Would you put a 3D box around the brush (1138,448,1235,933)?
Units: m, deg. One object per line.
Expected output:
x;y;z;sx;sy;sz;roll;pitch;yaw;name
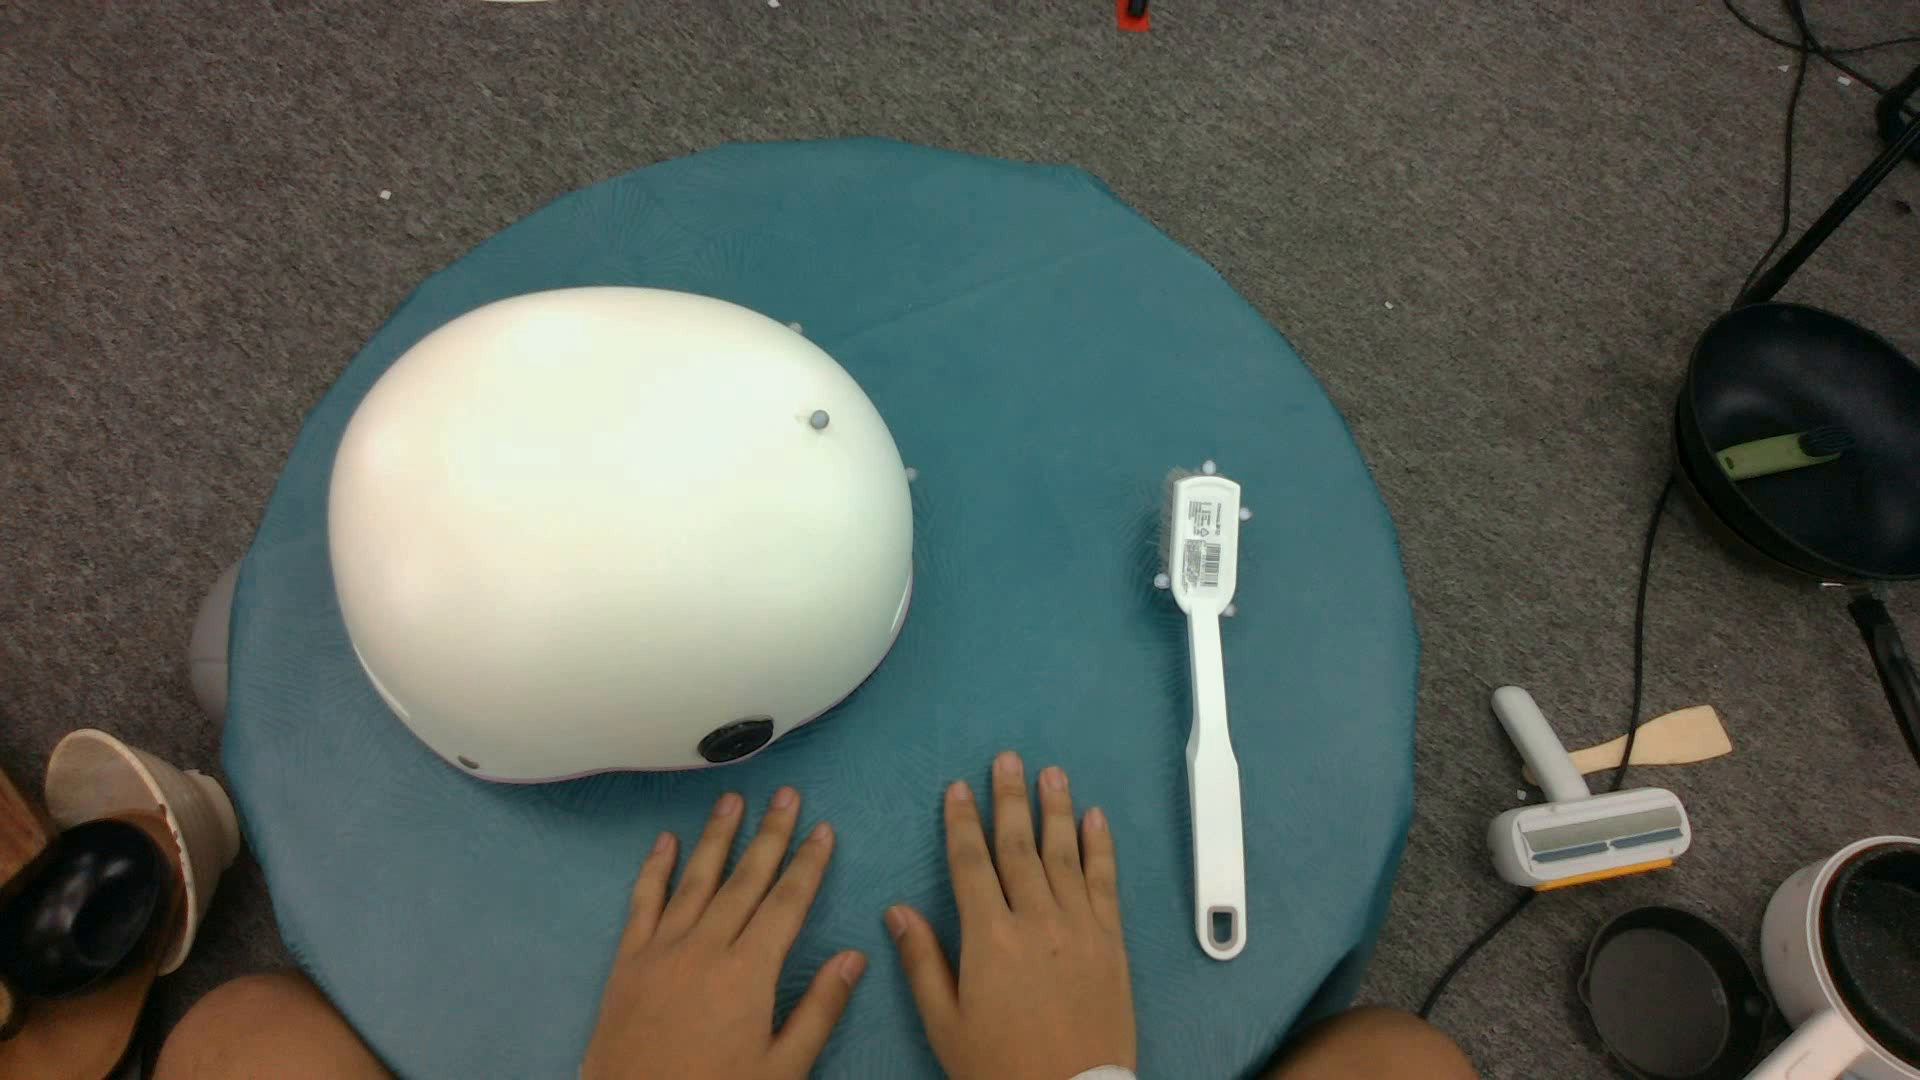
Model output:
0.114;0.069;0.691;0.034;0.050;0.244;0;78;-6;brush

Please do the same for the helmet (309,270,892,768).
-0.161;-0.027;0.631;0.269;0.166;0.237;-12;66;-11;helmet
